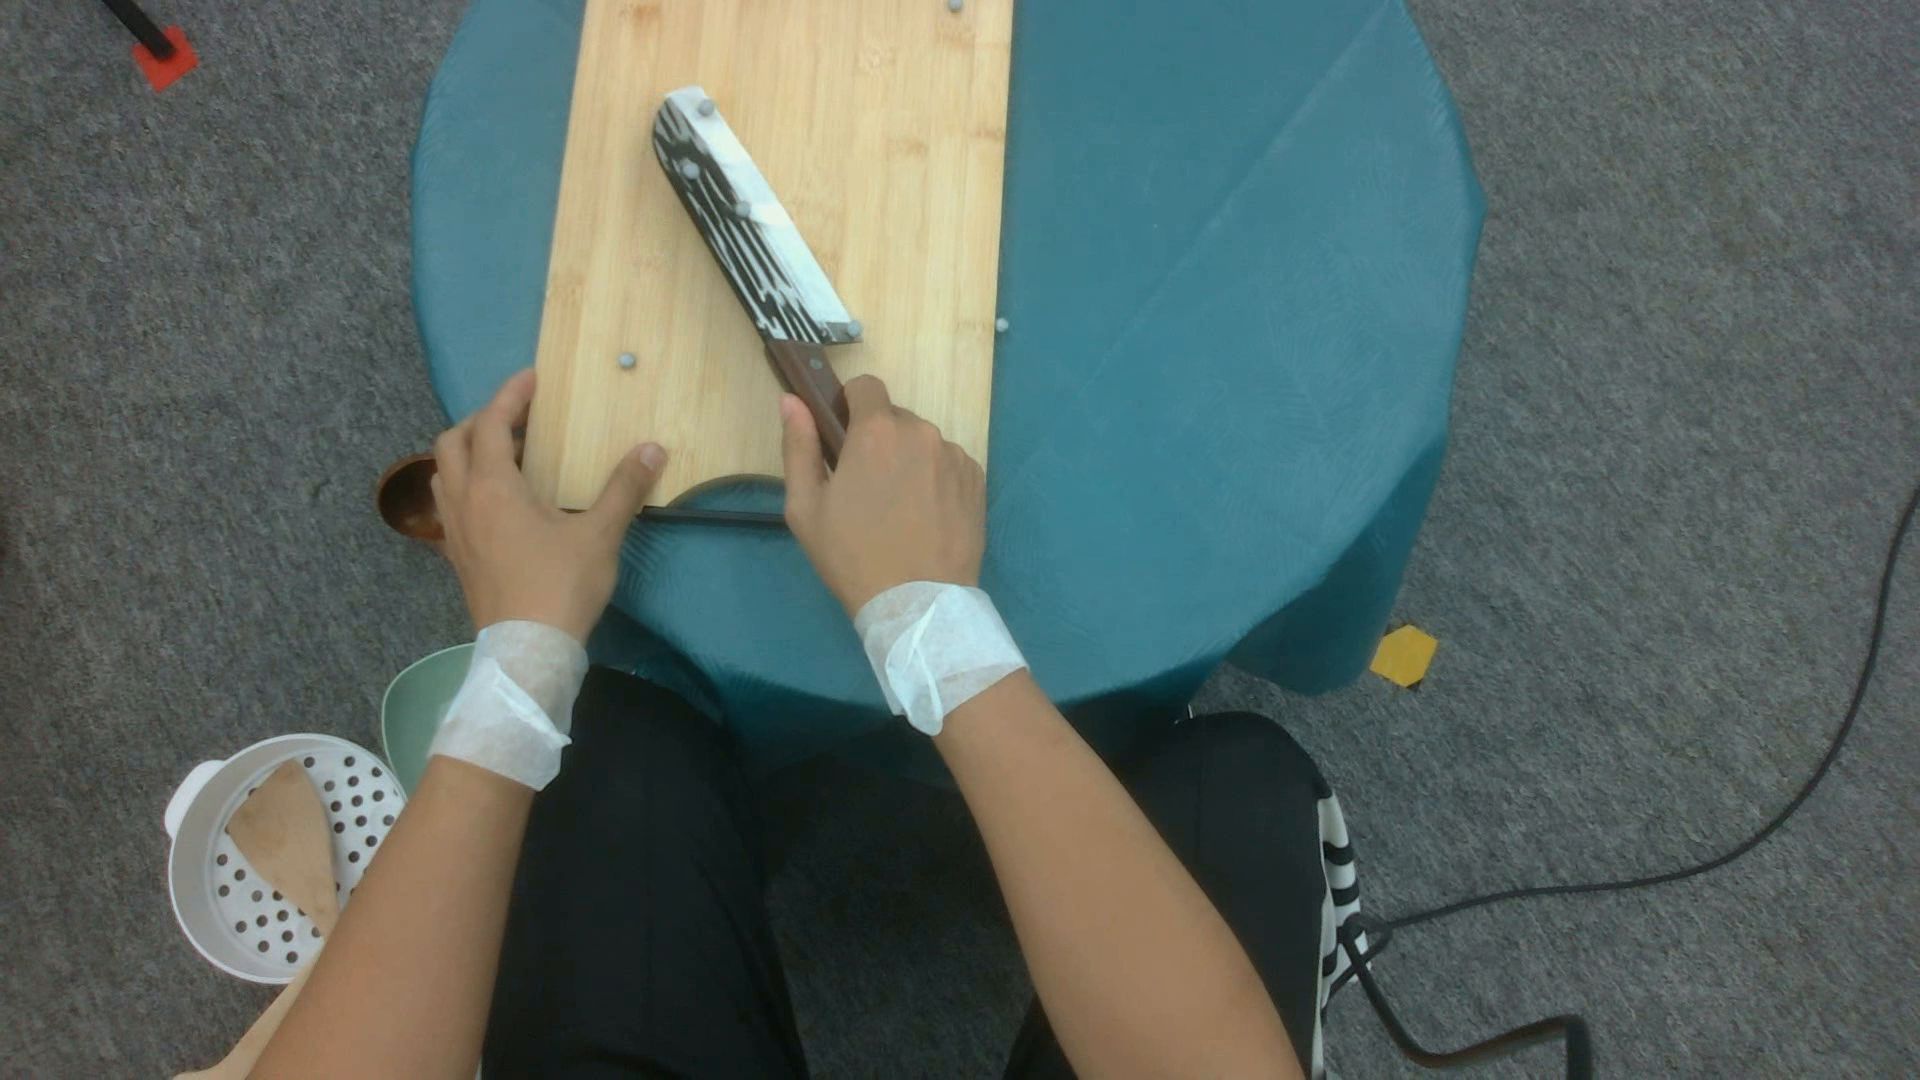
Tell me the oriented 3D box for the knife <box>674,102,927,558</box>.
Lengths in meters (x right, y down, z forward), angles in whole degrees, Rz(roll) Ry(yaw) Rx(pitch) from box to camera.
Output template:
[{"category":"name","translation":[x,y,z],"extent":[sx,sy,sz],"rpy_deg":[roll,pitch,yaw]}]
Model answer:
[{"category":"knife","translation":[-0.081,-0.121,0.724],"extent":[0.068,0.024,0.300],"rpy_deg":[-11,65,-47]}]

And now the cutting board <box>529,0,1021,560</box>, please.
[{"category":"cutting board","translation":[-0.096,-0.164,0.775],"extent":[0.251,0.023,0.349],"rpy_deg":[3,76,-1]}]
